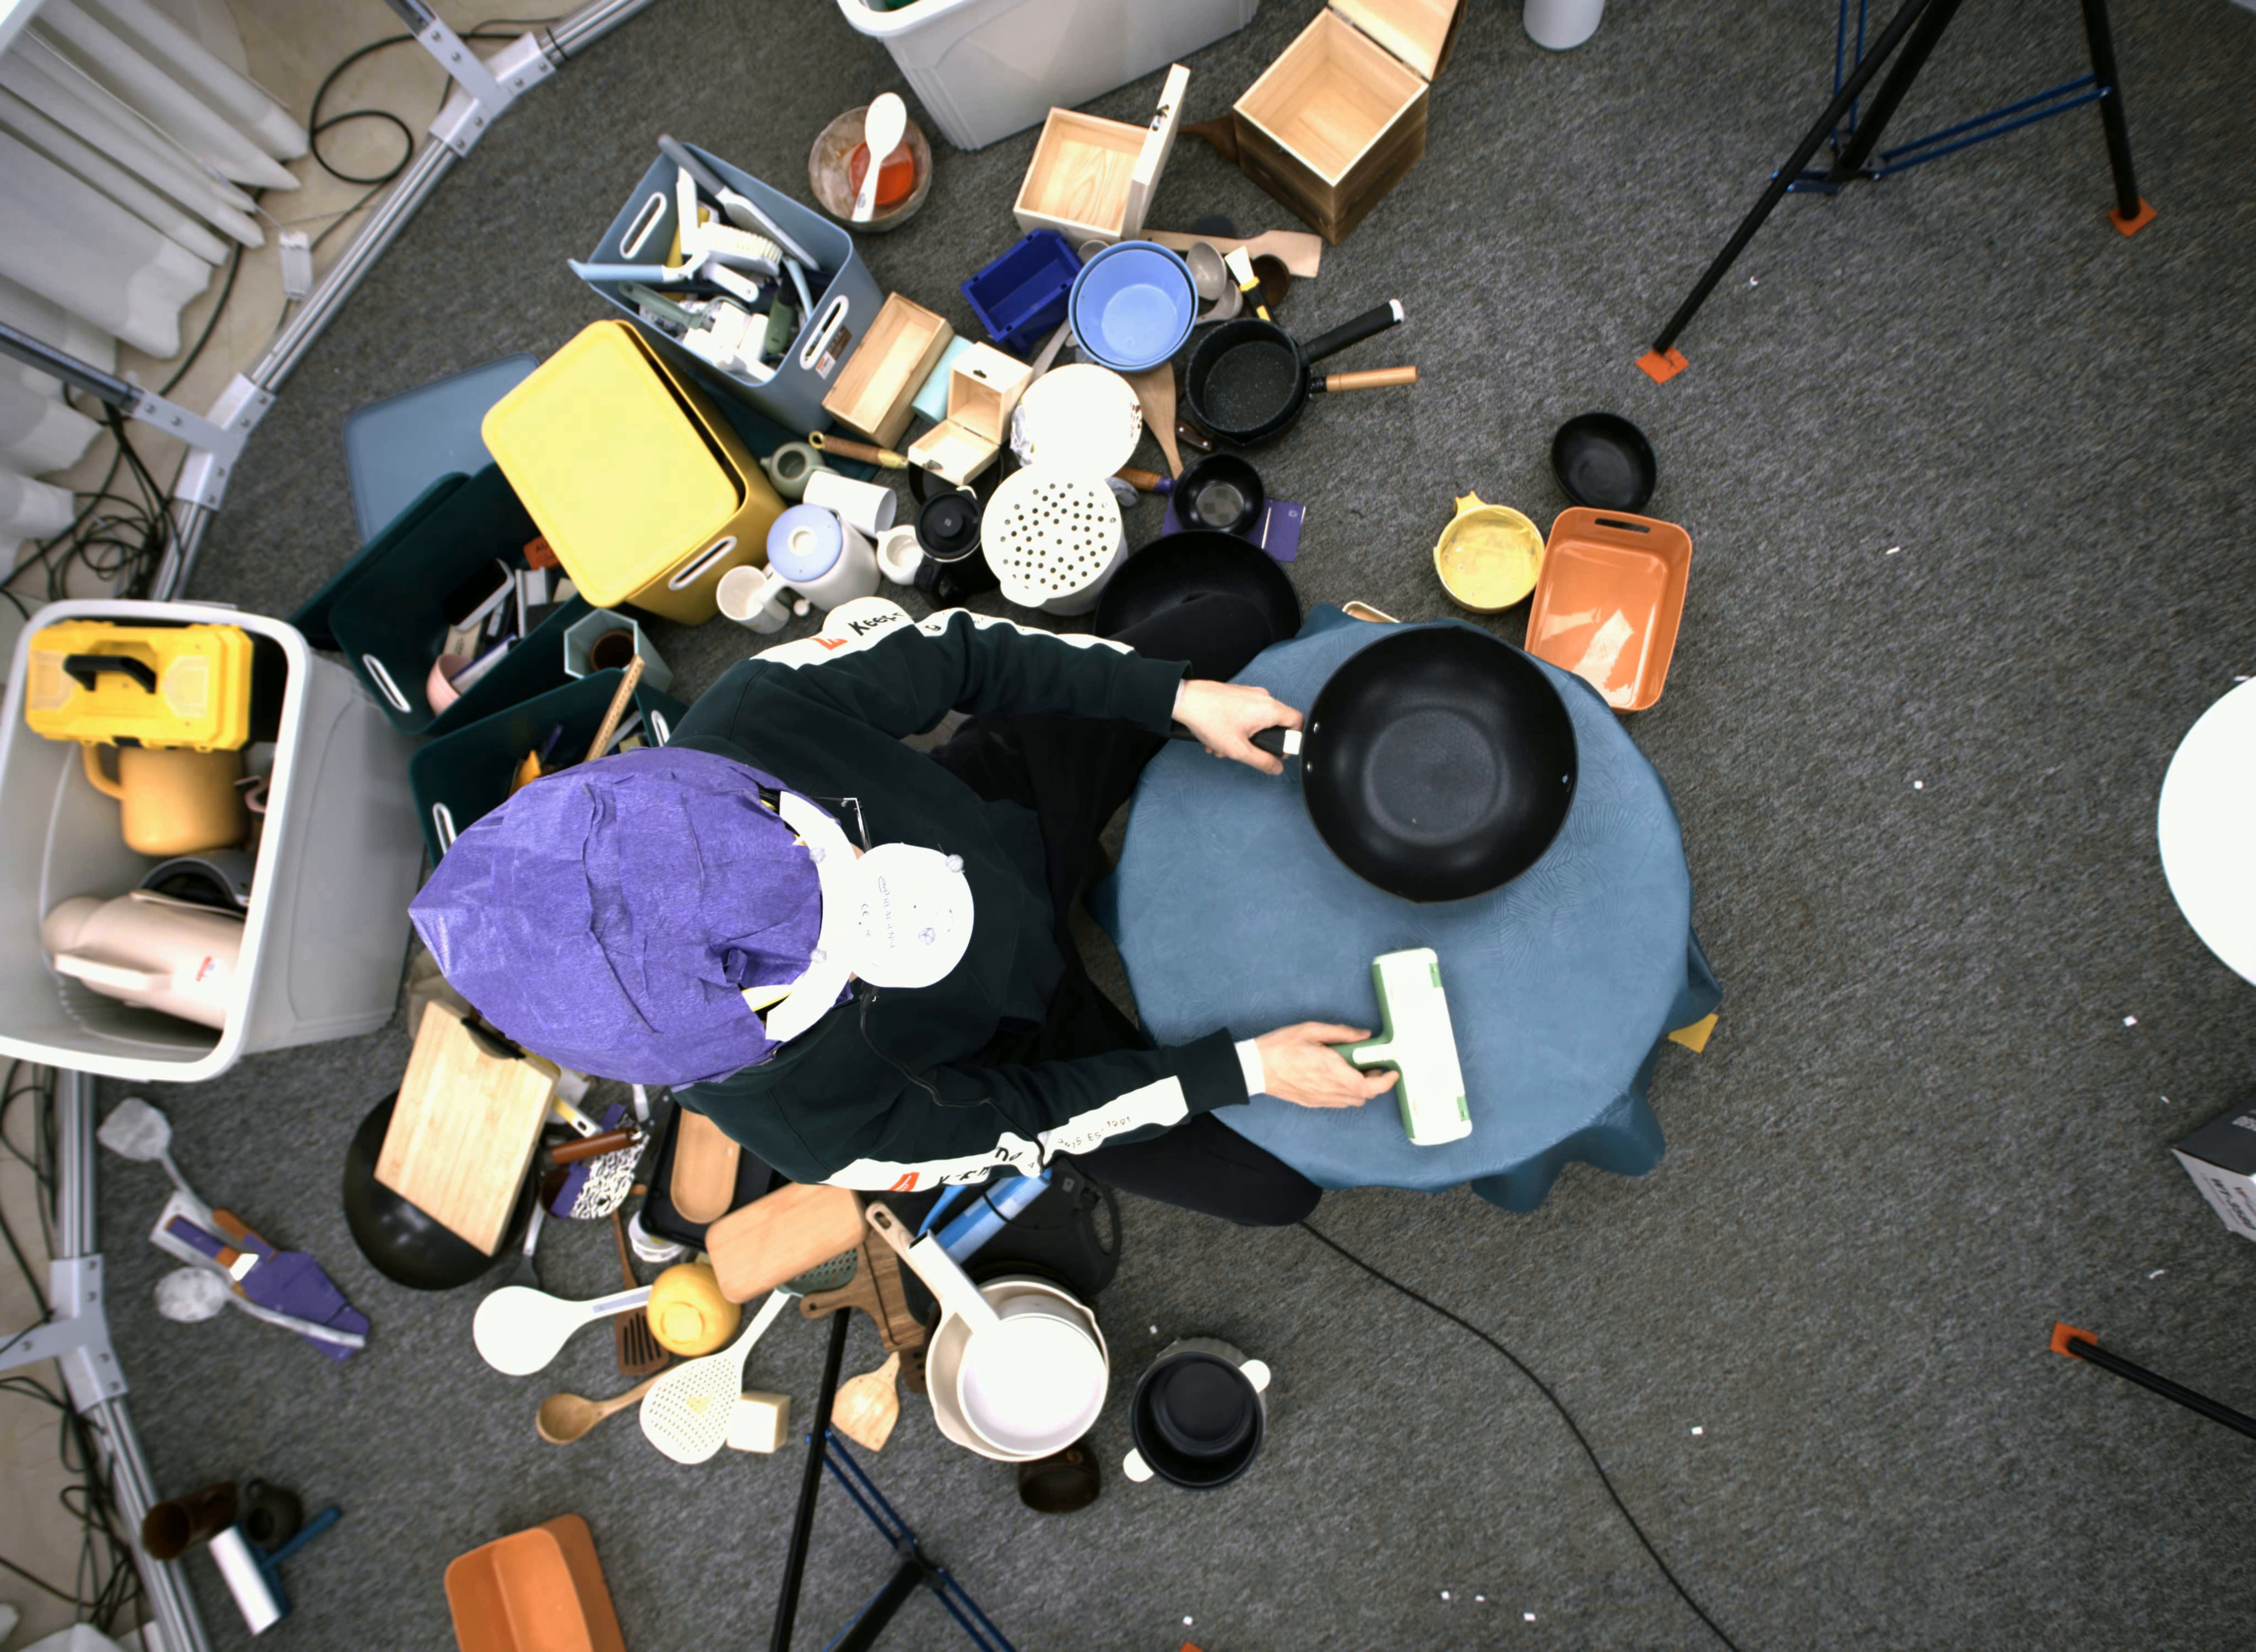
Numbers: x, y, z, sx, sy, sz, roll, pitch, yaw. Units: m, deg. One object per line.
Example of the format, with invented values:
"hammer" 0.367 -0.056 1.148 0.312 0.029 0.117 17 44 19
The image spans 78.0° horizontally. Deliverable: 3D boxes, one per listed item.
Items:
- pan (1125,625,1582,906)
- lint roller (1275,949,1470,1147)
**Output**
"pan" 0.227 -0.073 1.428 0.464 0.087 0.287 8 88 11
"lint roller" 0.241 0.234 1.410 0.184 0.082 0.198 -10 87 6
